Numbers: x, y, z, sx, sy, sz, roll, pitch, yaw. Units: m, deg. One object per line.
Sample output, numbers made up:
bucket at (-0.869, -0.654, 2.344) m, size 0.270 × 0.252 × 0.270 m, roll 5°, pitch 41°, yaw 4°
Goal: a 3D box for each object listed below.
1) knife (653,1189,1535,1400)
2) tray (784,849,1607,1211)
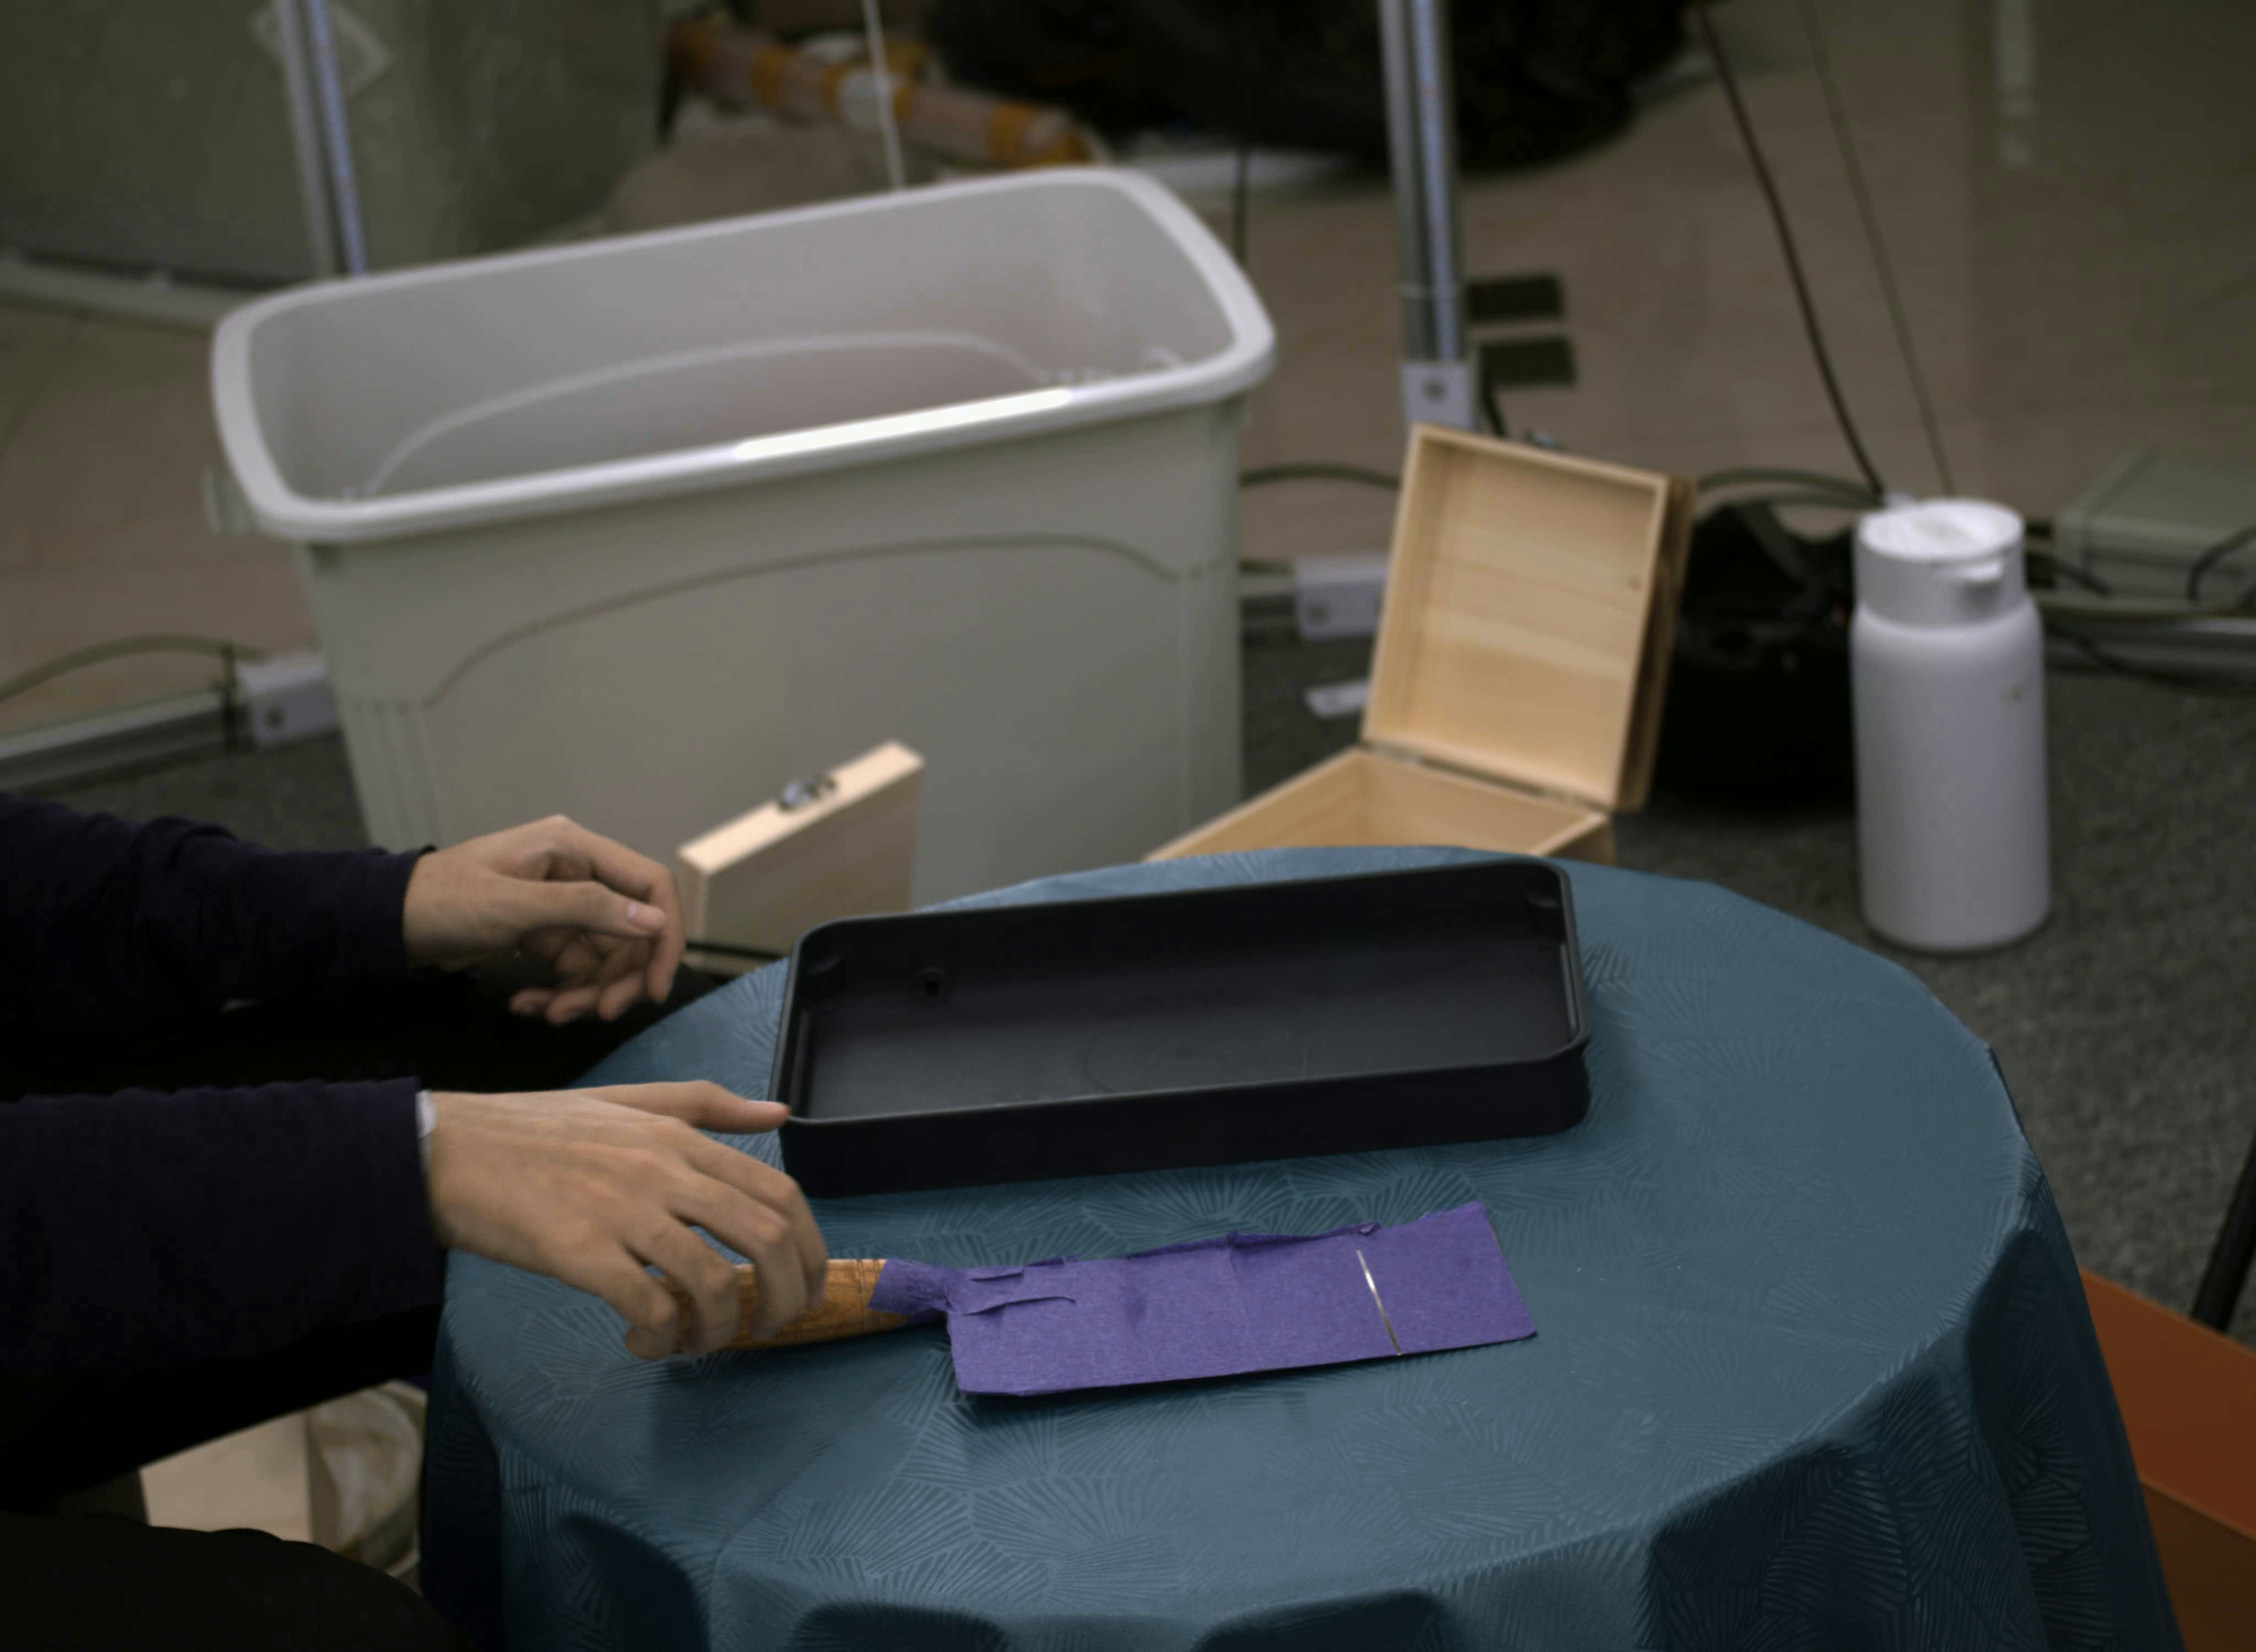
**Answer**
knife at (-0.013, 0.174, 2.048) m, size 0.314 × 0.033 × 0.102 m, roll -8°, pitch 25°, yaw -4°
tray at (0.026, 0.079, 2.237) m, size 0.317 × 0.037 × 0.181 m, roll -7°, pitch 25°, yaw 3°
